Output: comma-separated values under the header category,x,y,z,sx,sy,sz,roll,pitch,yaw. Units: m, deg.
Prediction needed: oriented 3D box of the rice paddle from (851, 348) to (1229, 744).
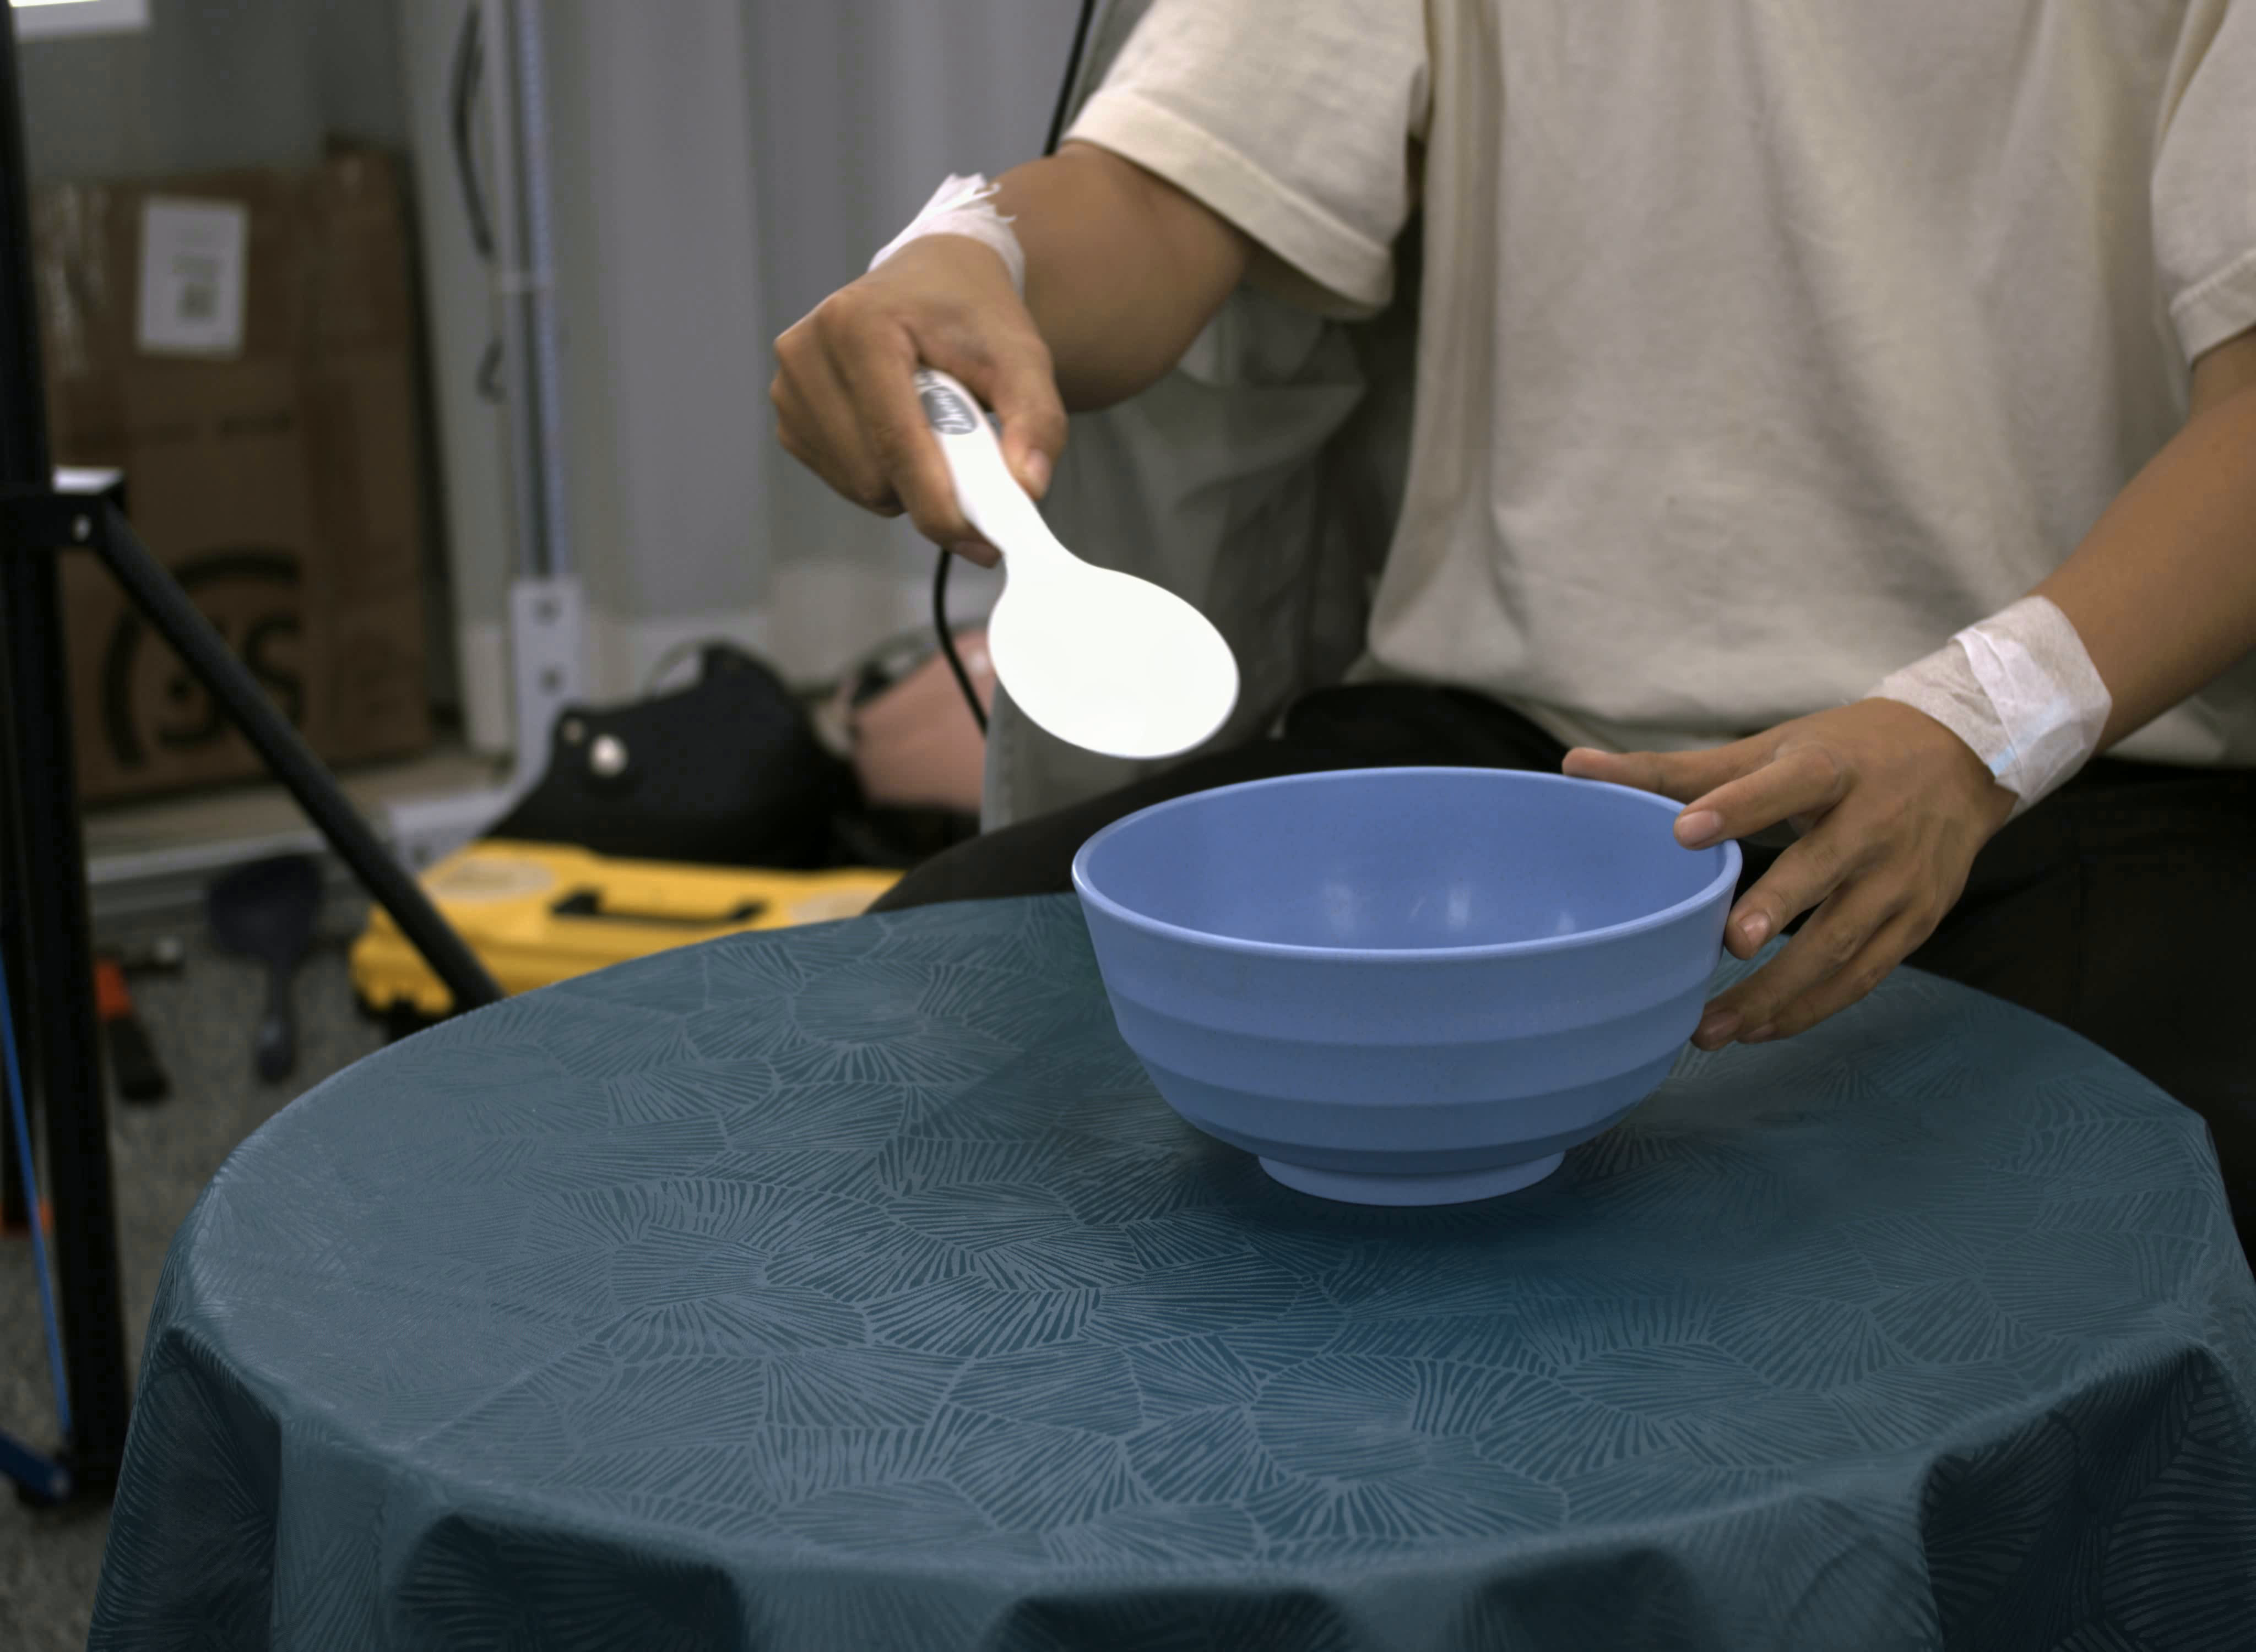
category,x,y,z,sx,sy,sz,roll,pitch,yaw
rice paddle,-0.031,-0.085,1.633,0.068,0.029,0.209,-19,40,-16

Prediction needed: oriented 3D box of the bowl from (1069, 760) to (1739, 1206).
category,x,y,z,sx,sy,sz,roll,pitch,yaw
bowl,0.083,0.052,1.564,0.195,0.095,0.197,-4,16,0
